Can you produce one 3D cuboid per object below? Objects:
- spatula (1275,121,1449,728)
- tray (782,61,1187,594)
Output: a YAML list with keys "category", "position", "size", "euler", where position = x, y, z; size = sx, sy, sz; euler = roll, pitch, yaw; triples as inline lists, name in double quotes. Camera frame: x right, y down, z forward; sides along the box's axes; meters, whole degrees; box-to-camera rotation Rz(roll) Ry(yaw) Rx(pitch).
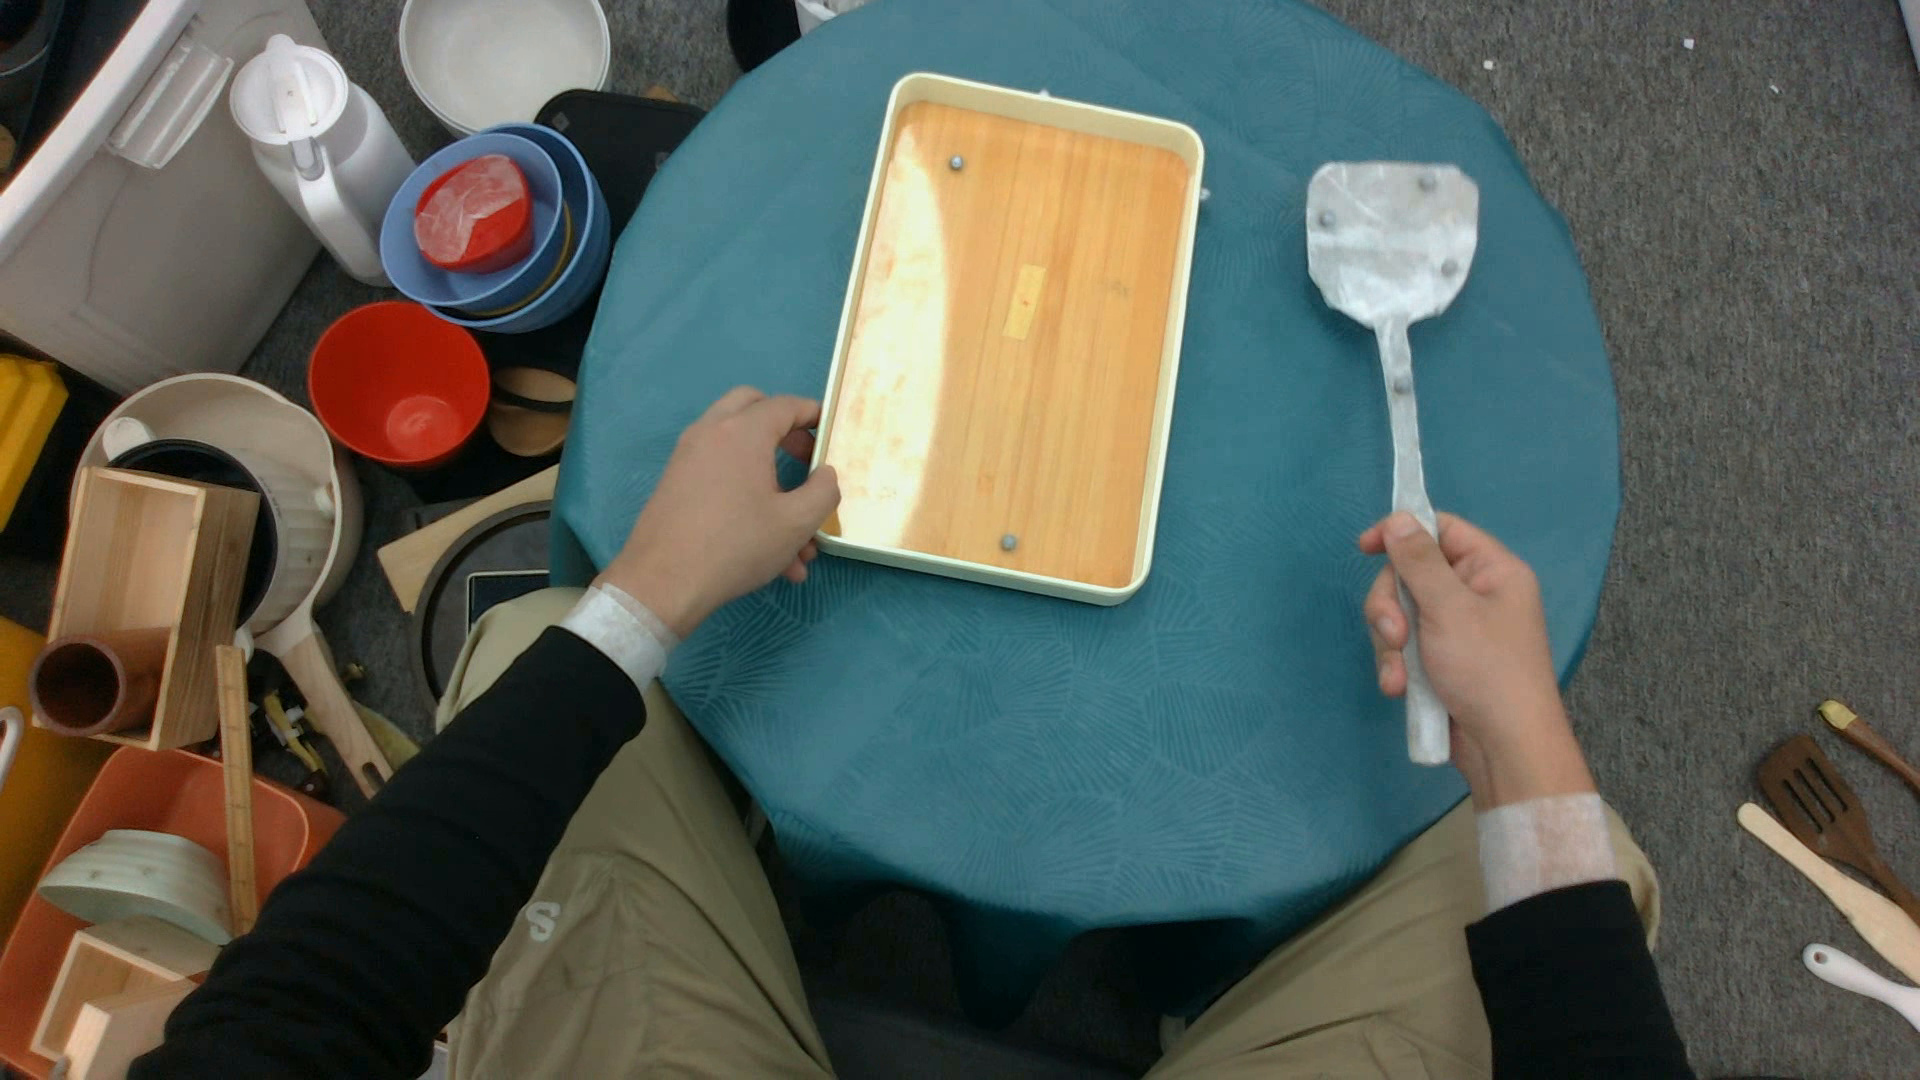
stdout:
- category: "spatula"
  position: [0.220, -0.077, 0.726]
  size: [0.098, 0.044, 0.366]
  euler: [0, 58, 10]
- category: "tray"
  position: [0.019, -0.127, 0.785]
  size: [0.191, 0.027, 0.301]
  euler: [11, 71, -2]
